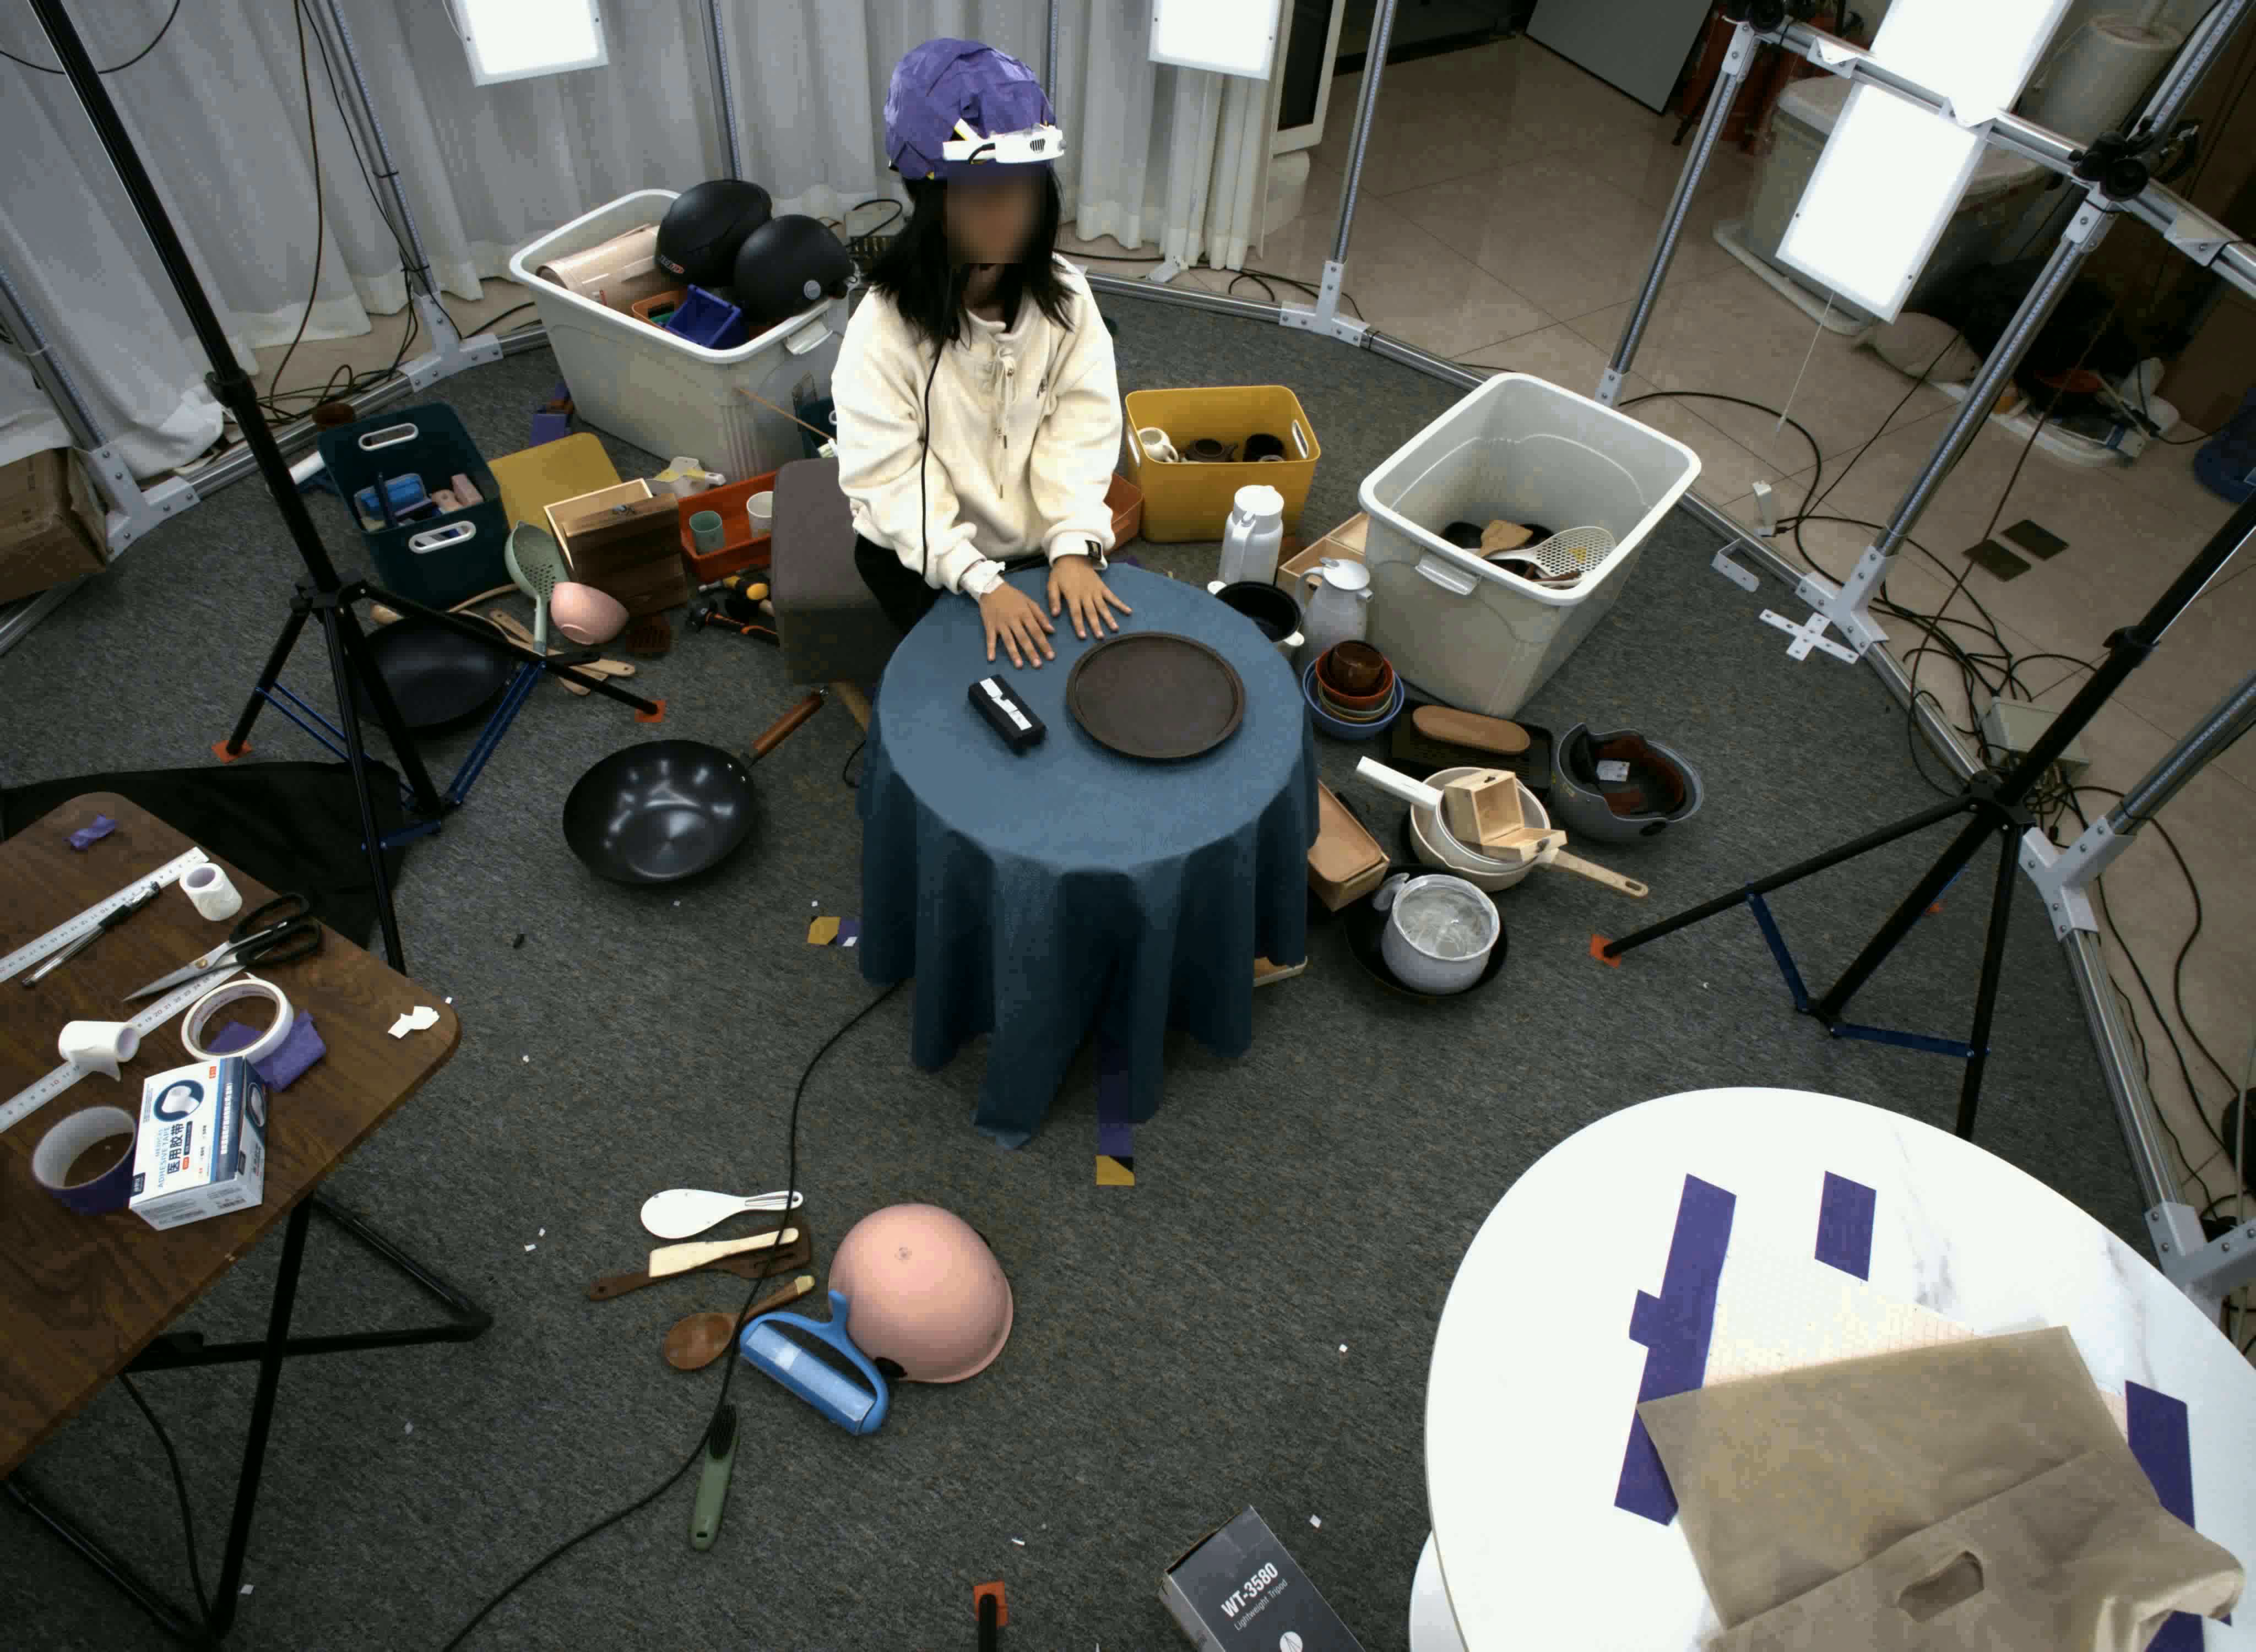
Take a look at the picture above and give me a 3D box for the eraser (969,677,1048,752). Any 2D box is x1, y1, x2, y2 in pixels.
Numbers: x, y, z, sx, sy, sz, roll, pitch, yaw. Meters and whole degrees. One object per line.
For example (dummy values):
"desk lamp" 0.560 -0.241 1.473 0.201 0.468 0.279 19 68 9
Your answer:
"eraser" -0.166 -0.156 1.777 0.054 0.030 0.128 -24 53 -25

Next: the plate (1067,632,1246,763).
"plate" 0.040 -0.184 1.817 0.254 0.028 0.261 2 50 -3
